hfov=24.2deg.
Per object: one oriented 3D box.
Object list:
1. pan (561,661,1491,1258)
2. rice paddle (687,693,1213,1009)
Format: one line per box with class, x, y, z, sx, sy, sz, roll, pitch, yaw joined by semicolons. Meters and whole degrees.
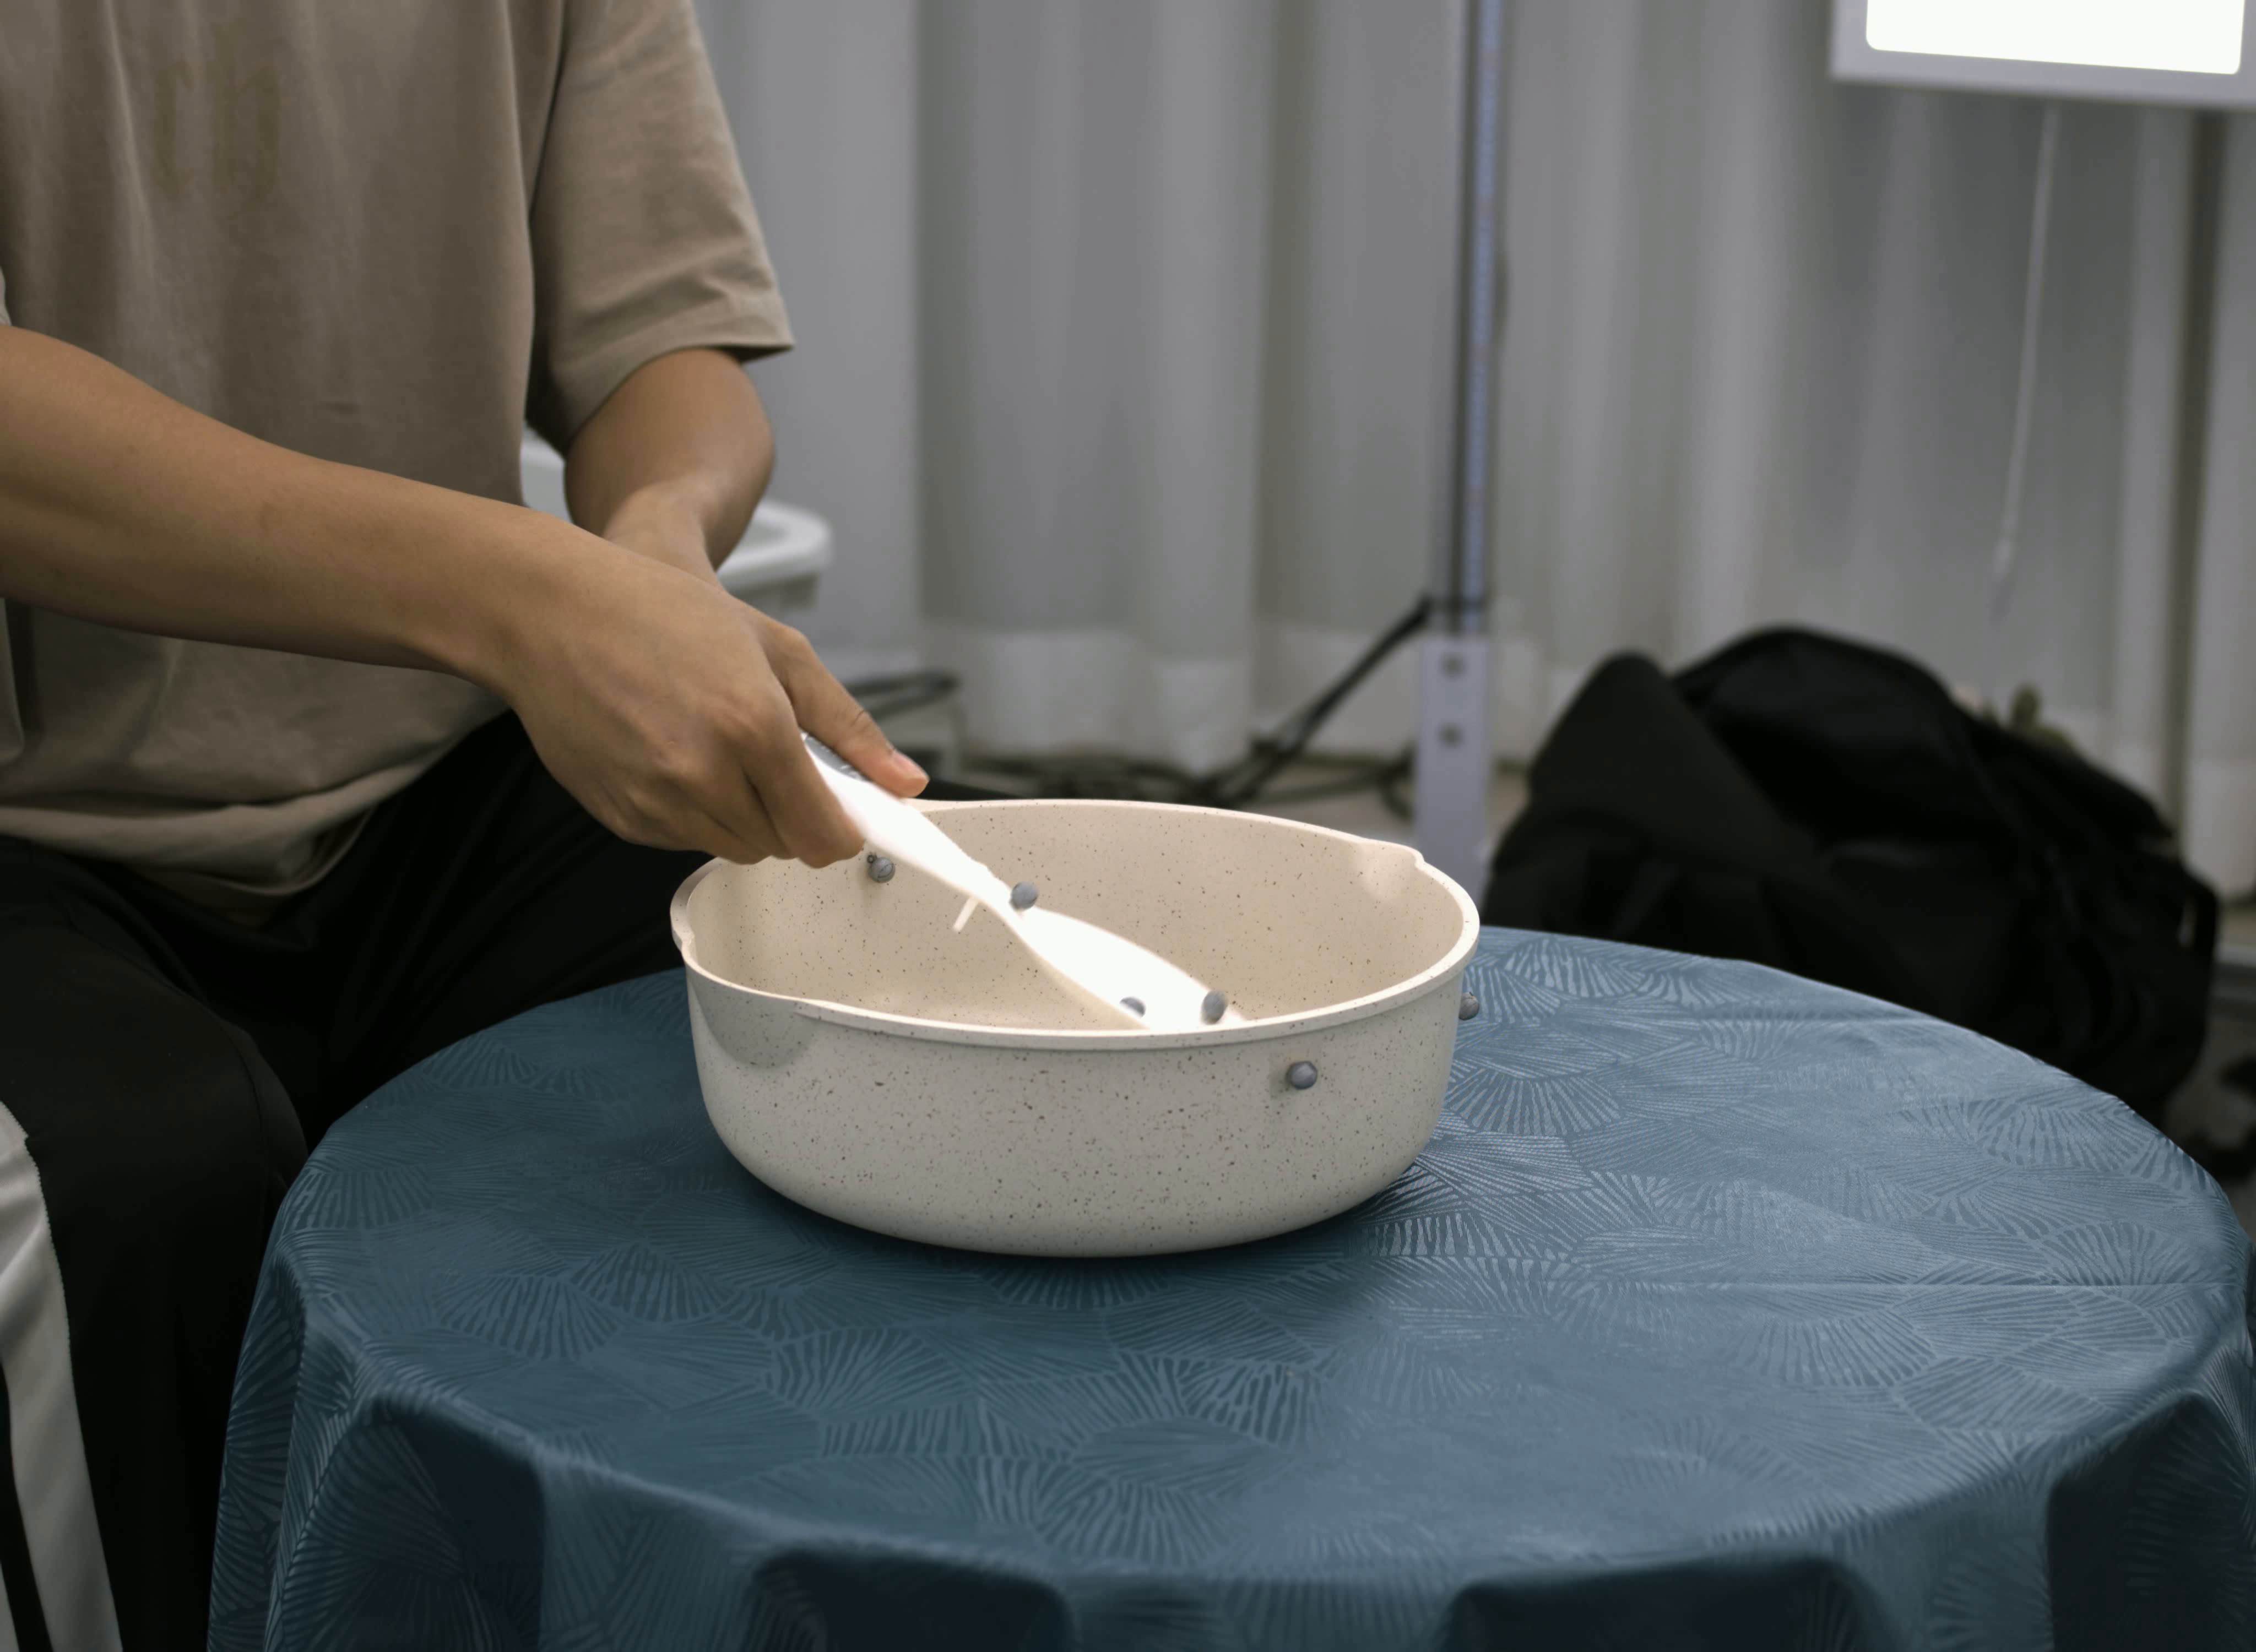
pan;-0.064;0.037;1.715;0.264;0.103;0.429;-13;20;-33
rice paddle;-0.043;0.024;1.647;0.205;0.029;0.068;32;16;-4
